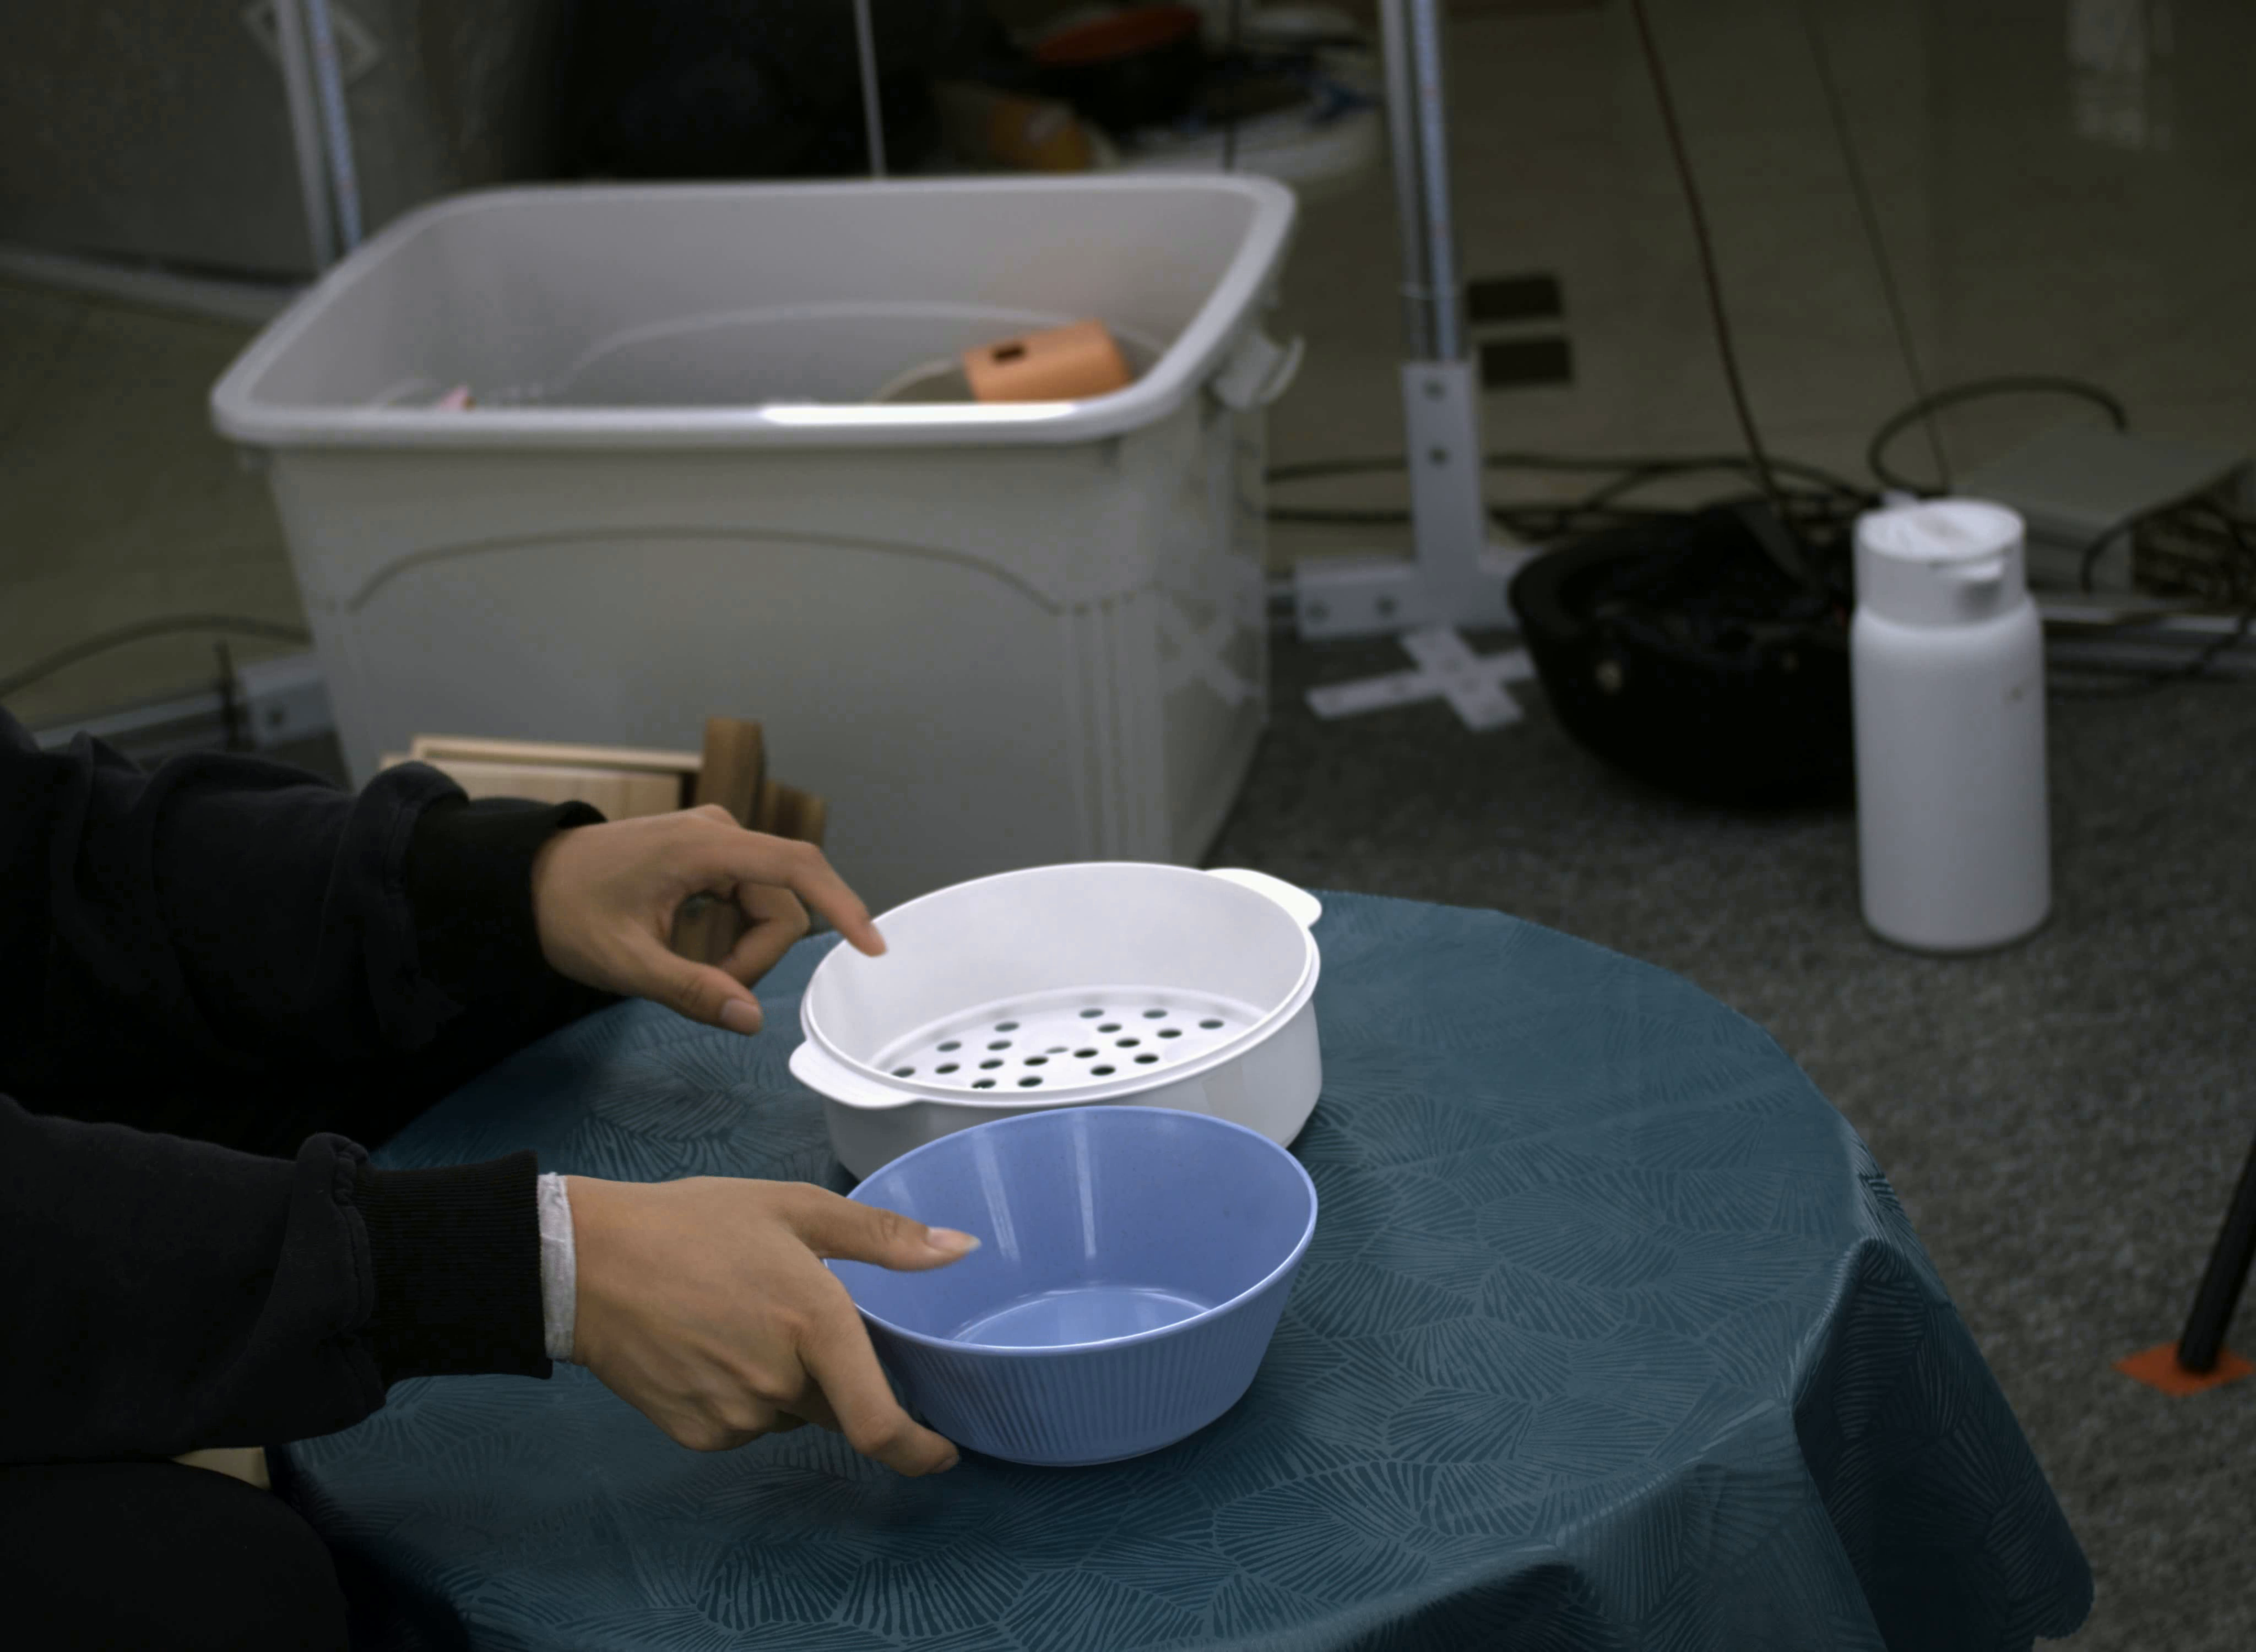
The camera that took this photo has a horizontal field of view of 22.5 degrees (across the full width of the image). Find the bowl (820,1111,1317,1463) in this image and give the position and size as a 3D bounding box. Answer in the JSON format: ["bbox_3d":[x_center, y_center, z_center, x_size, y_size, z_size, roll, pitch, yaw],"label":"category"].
[{"bbox_3d":[-0.019,0.169,2.008,0.176,0.071,0.173,-4,25,2],"label":"bowl"}]

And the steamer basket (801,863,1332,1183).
[{"bbox_3d":[-0.020,0.084,2.193,0.229,0.070,0.200,-21,29,-33],"label":"steamer basket"}]
